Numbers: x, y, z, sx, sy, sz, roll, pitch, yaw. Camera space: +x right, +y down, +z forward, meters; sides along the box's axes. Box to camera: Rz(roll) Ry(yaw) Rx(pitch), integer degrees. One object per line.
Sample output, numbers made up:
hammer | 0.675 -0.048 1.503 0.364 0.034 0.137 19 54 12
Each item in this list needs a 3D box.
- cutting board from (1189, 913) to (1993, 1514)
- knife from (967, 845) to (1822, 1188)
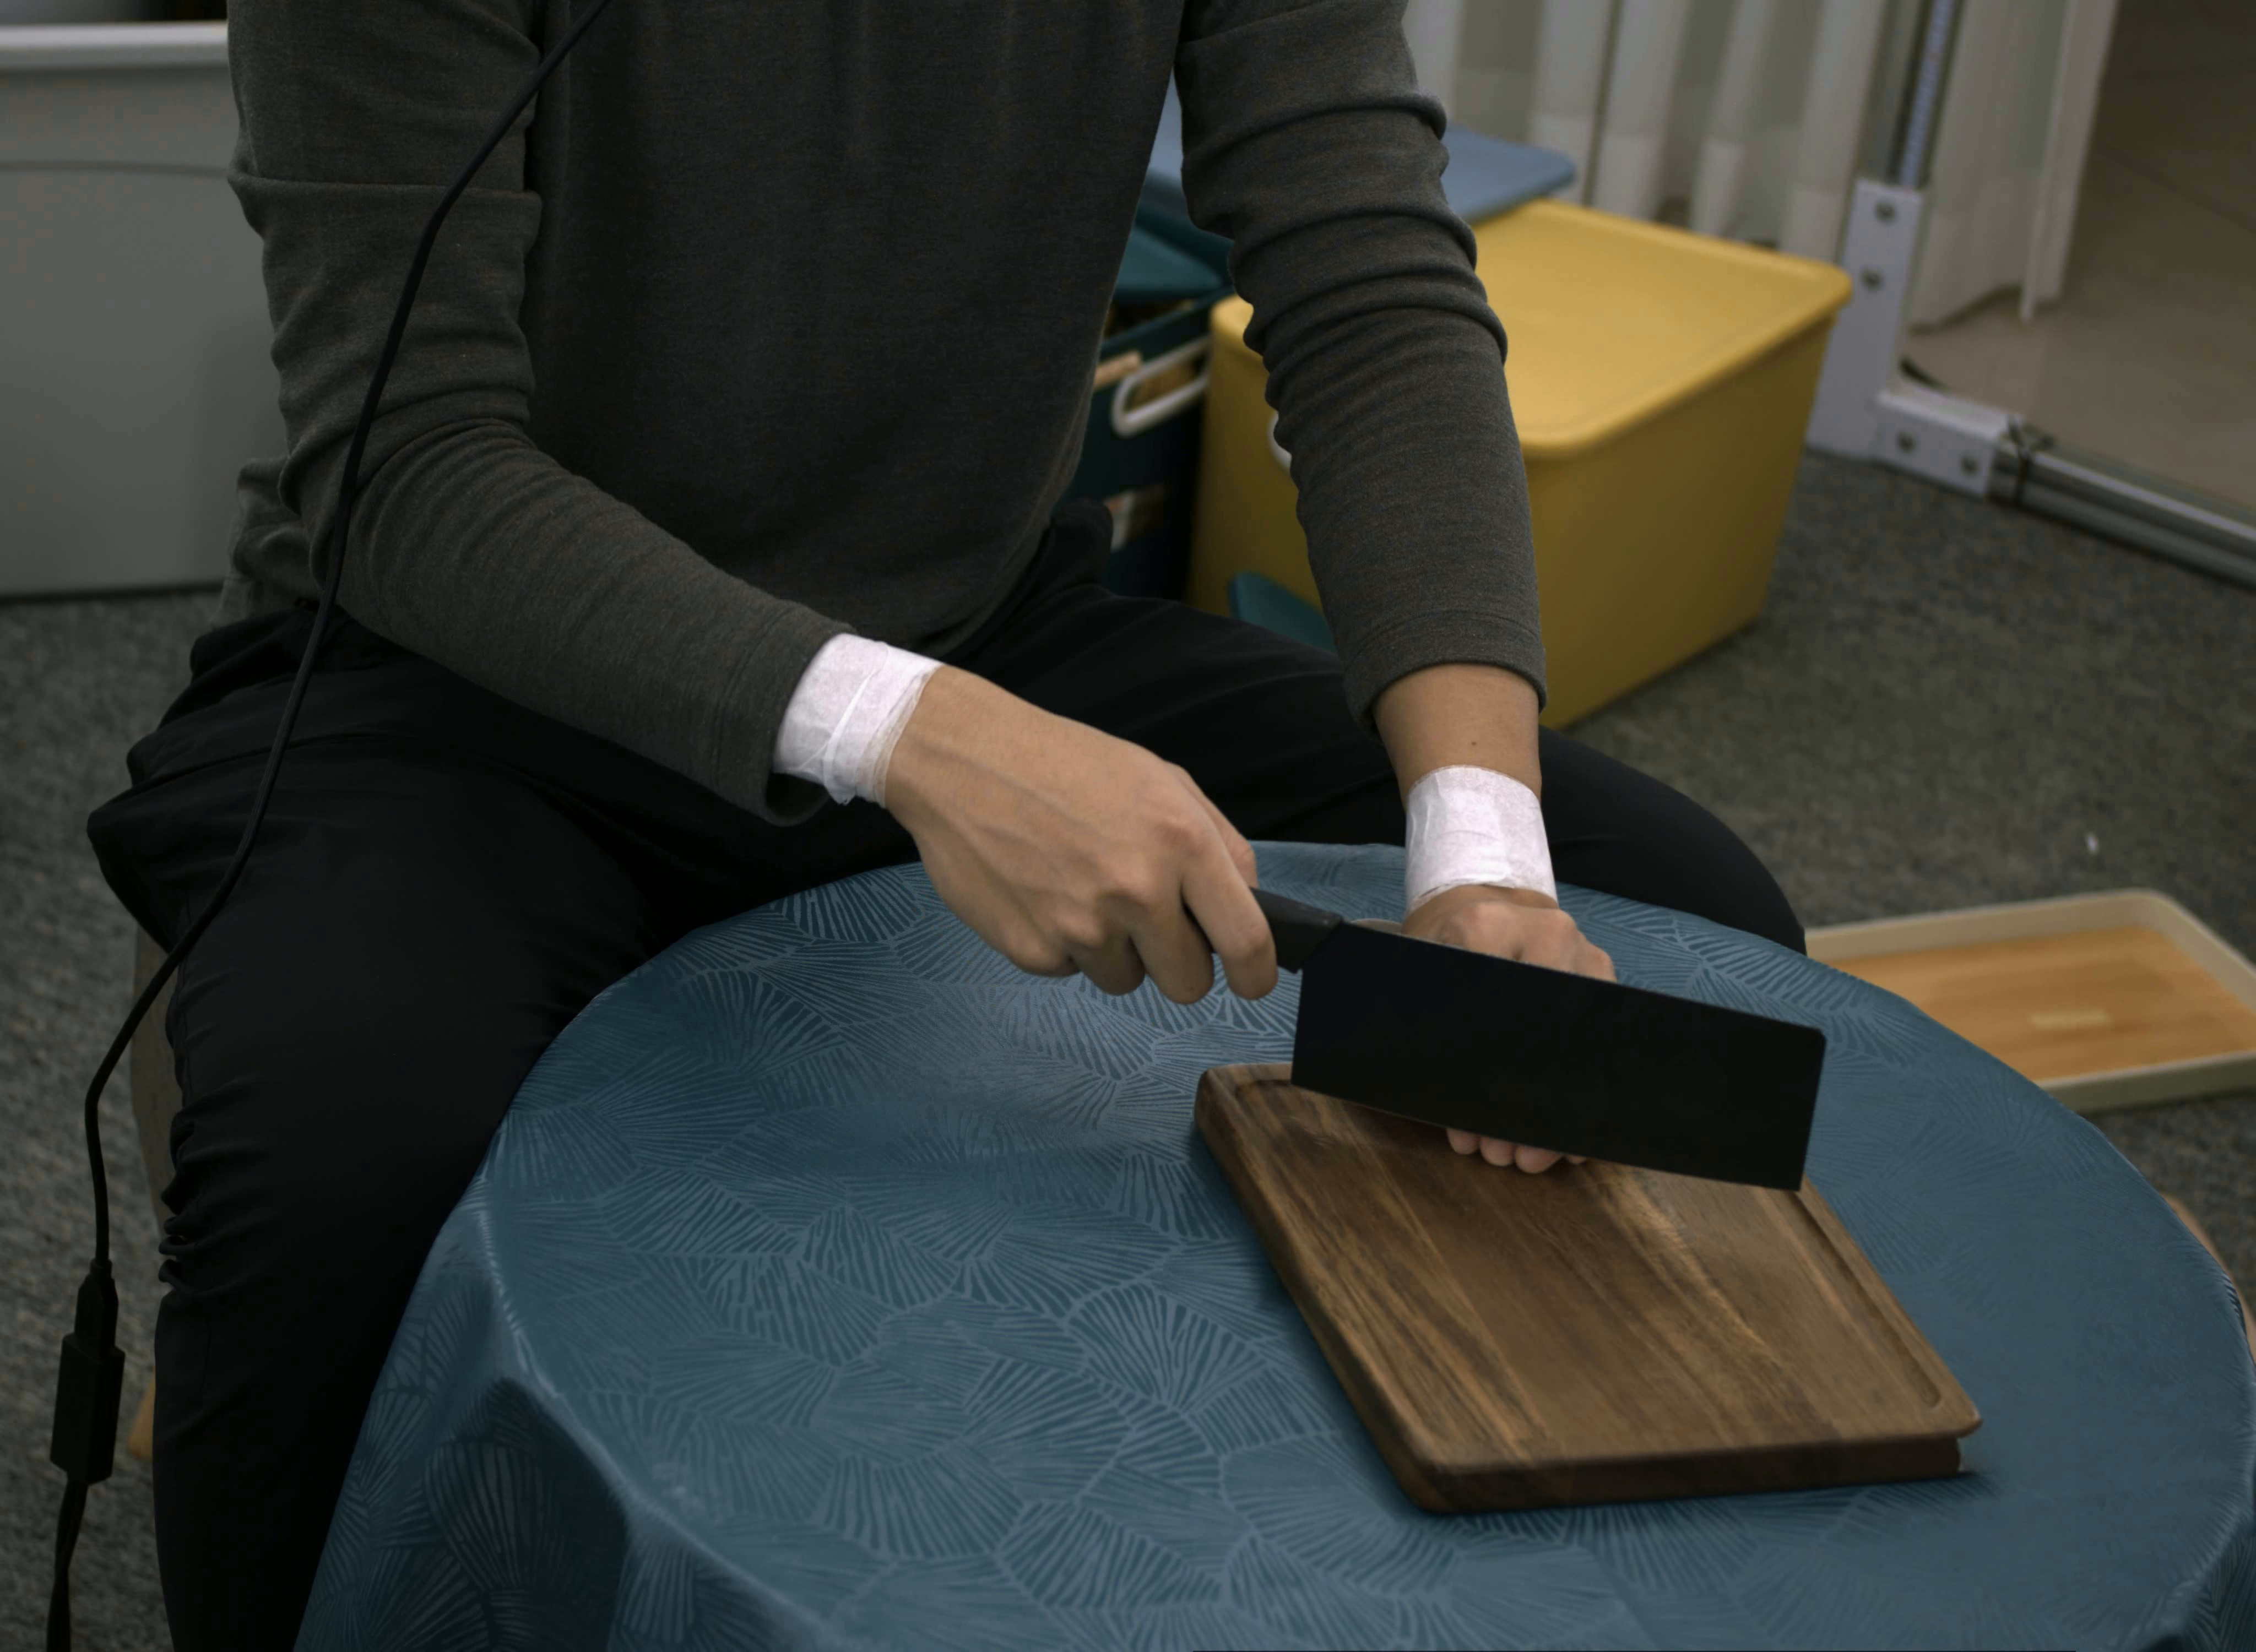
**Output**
cutting board | 0.135 0.122 1.816 0.200 0.023 0.355 -2 28 -17
knife | 0.087 0.062 1.806 0.303 0.081 0.021 17 23 15
